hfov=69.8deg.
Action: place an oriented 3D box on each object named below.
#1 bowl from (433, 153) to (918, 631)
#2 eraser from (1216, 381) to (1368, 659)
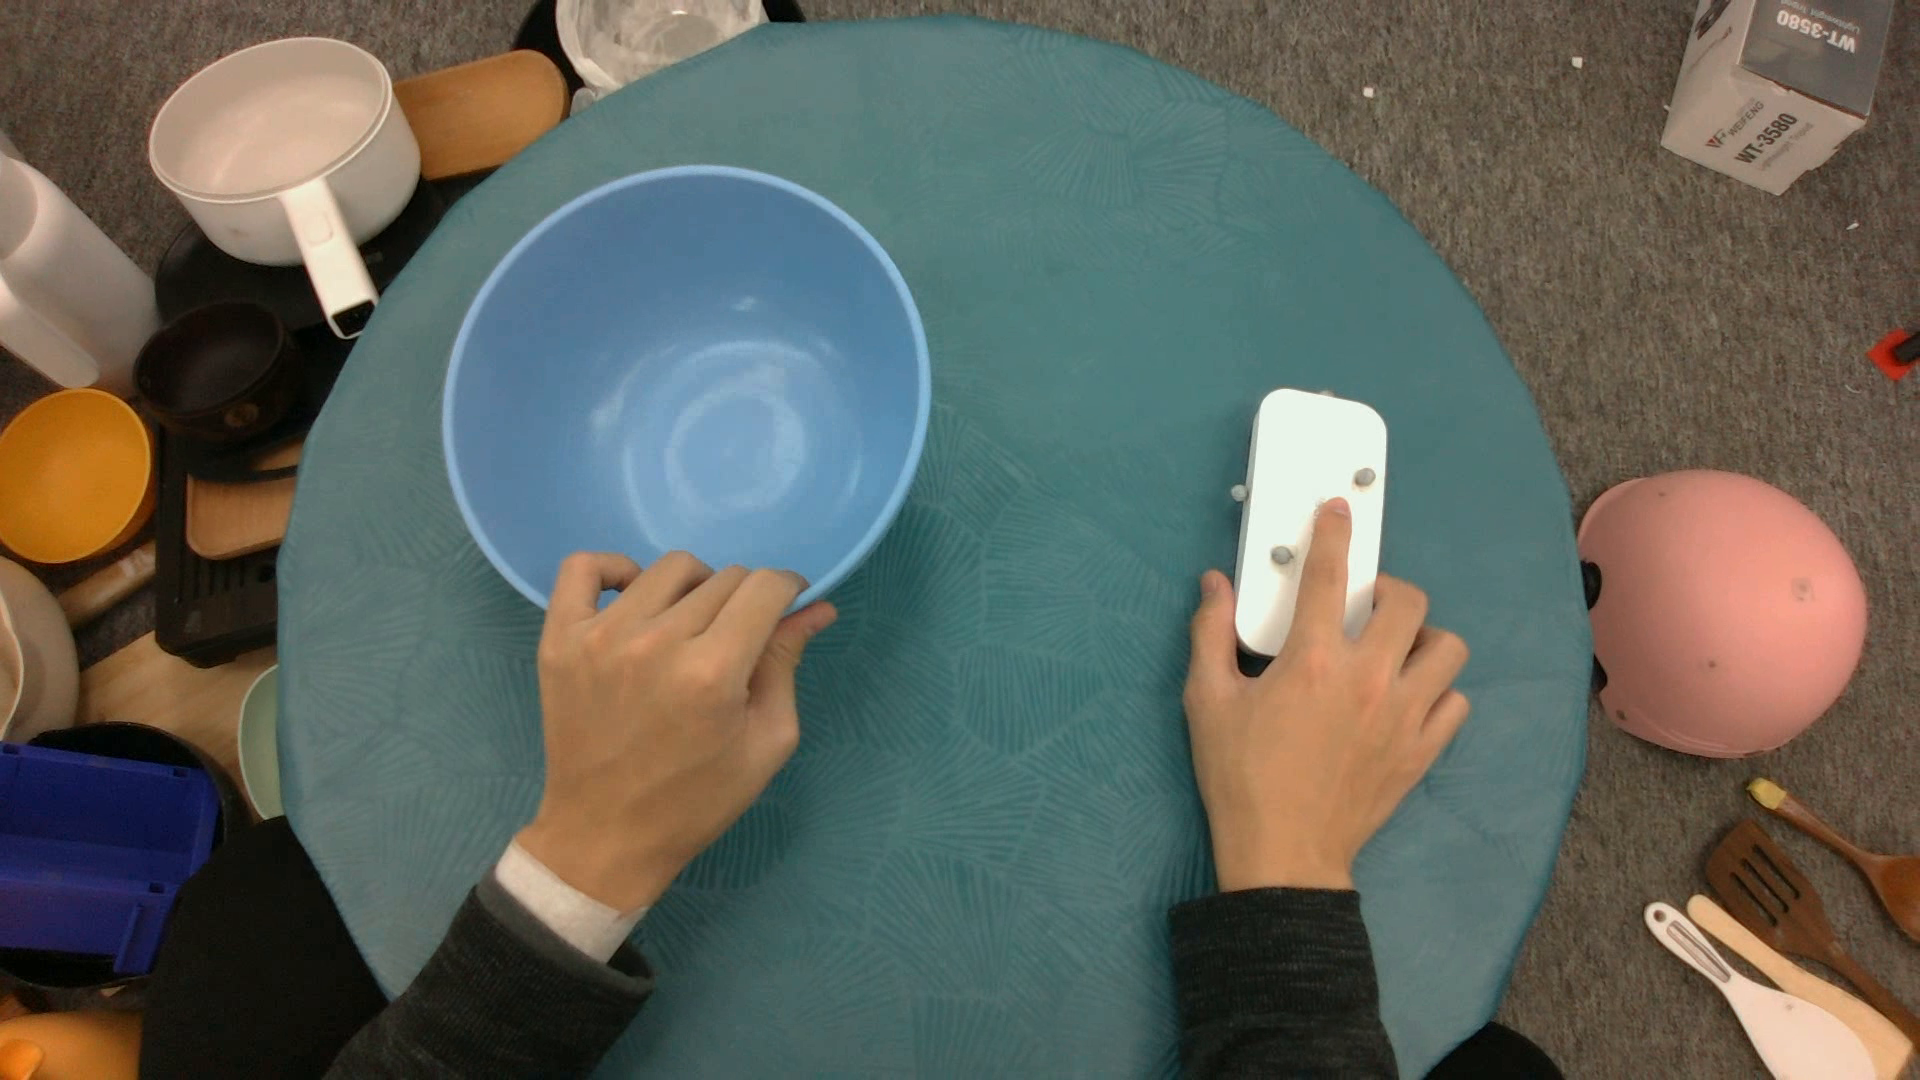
[{"bbox_3d":[-0.108,-0.053,0.585,0.196,0.095,0.197,-1,78,7],"label":"bowl"},{"bbox_3d":[0.153,-0.011,0.641,0.063,0.034,0.131,11,70,-2],"label":"eraser"}]
